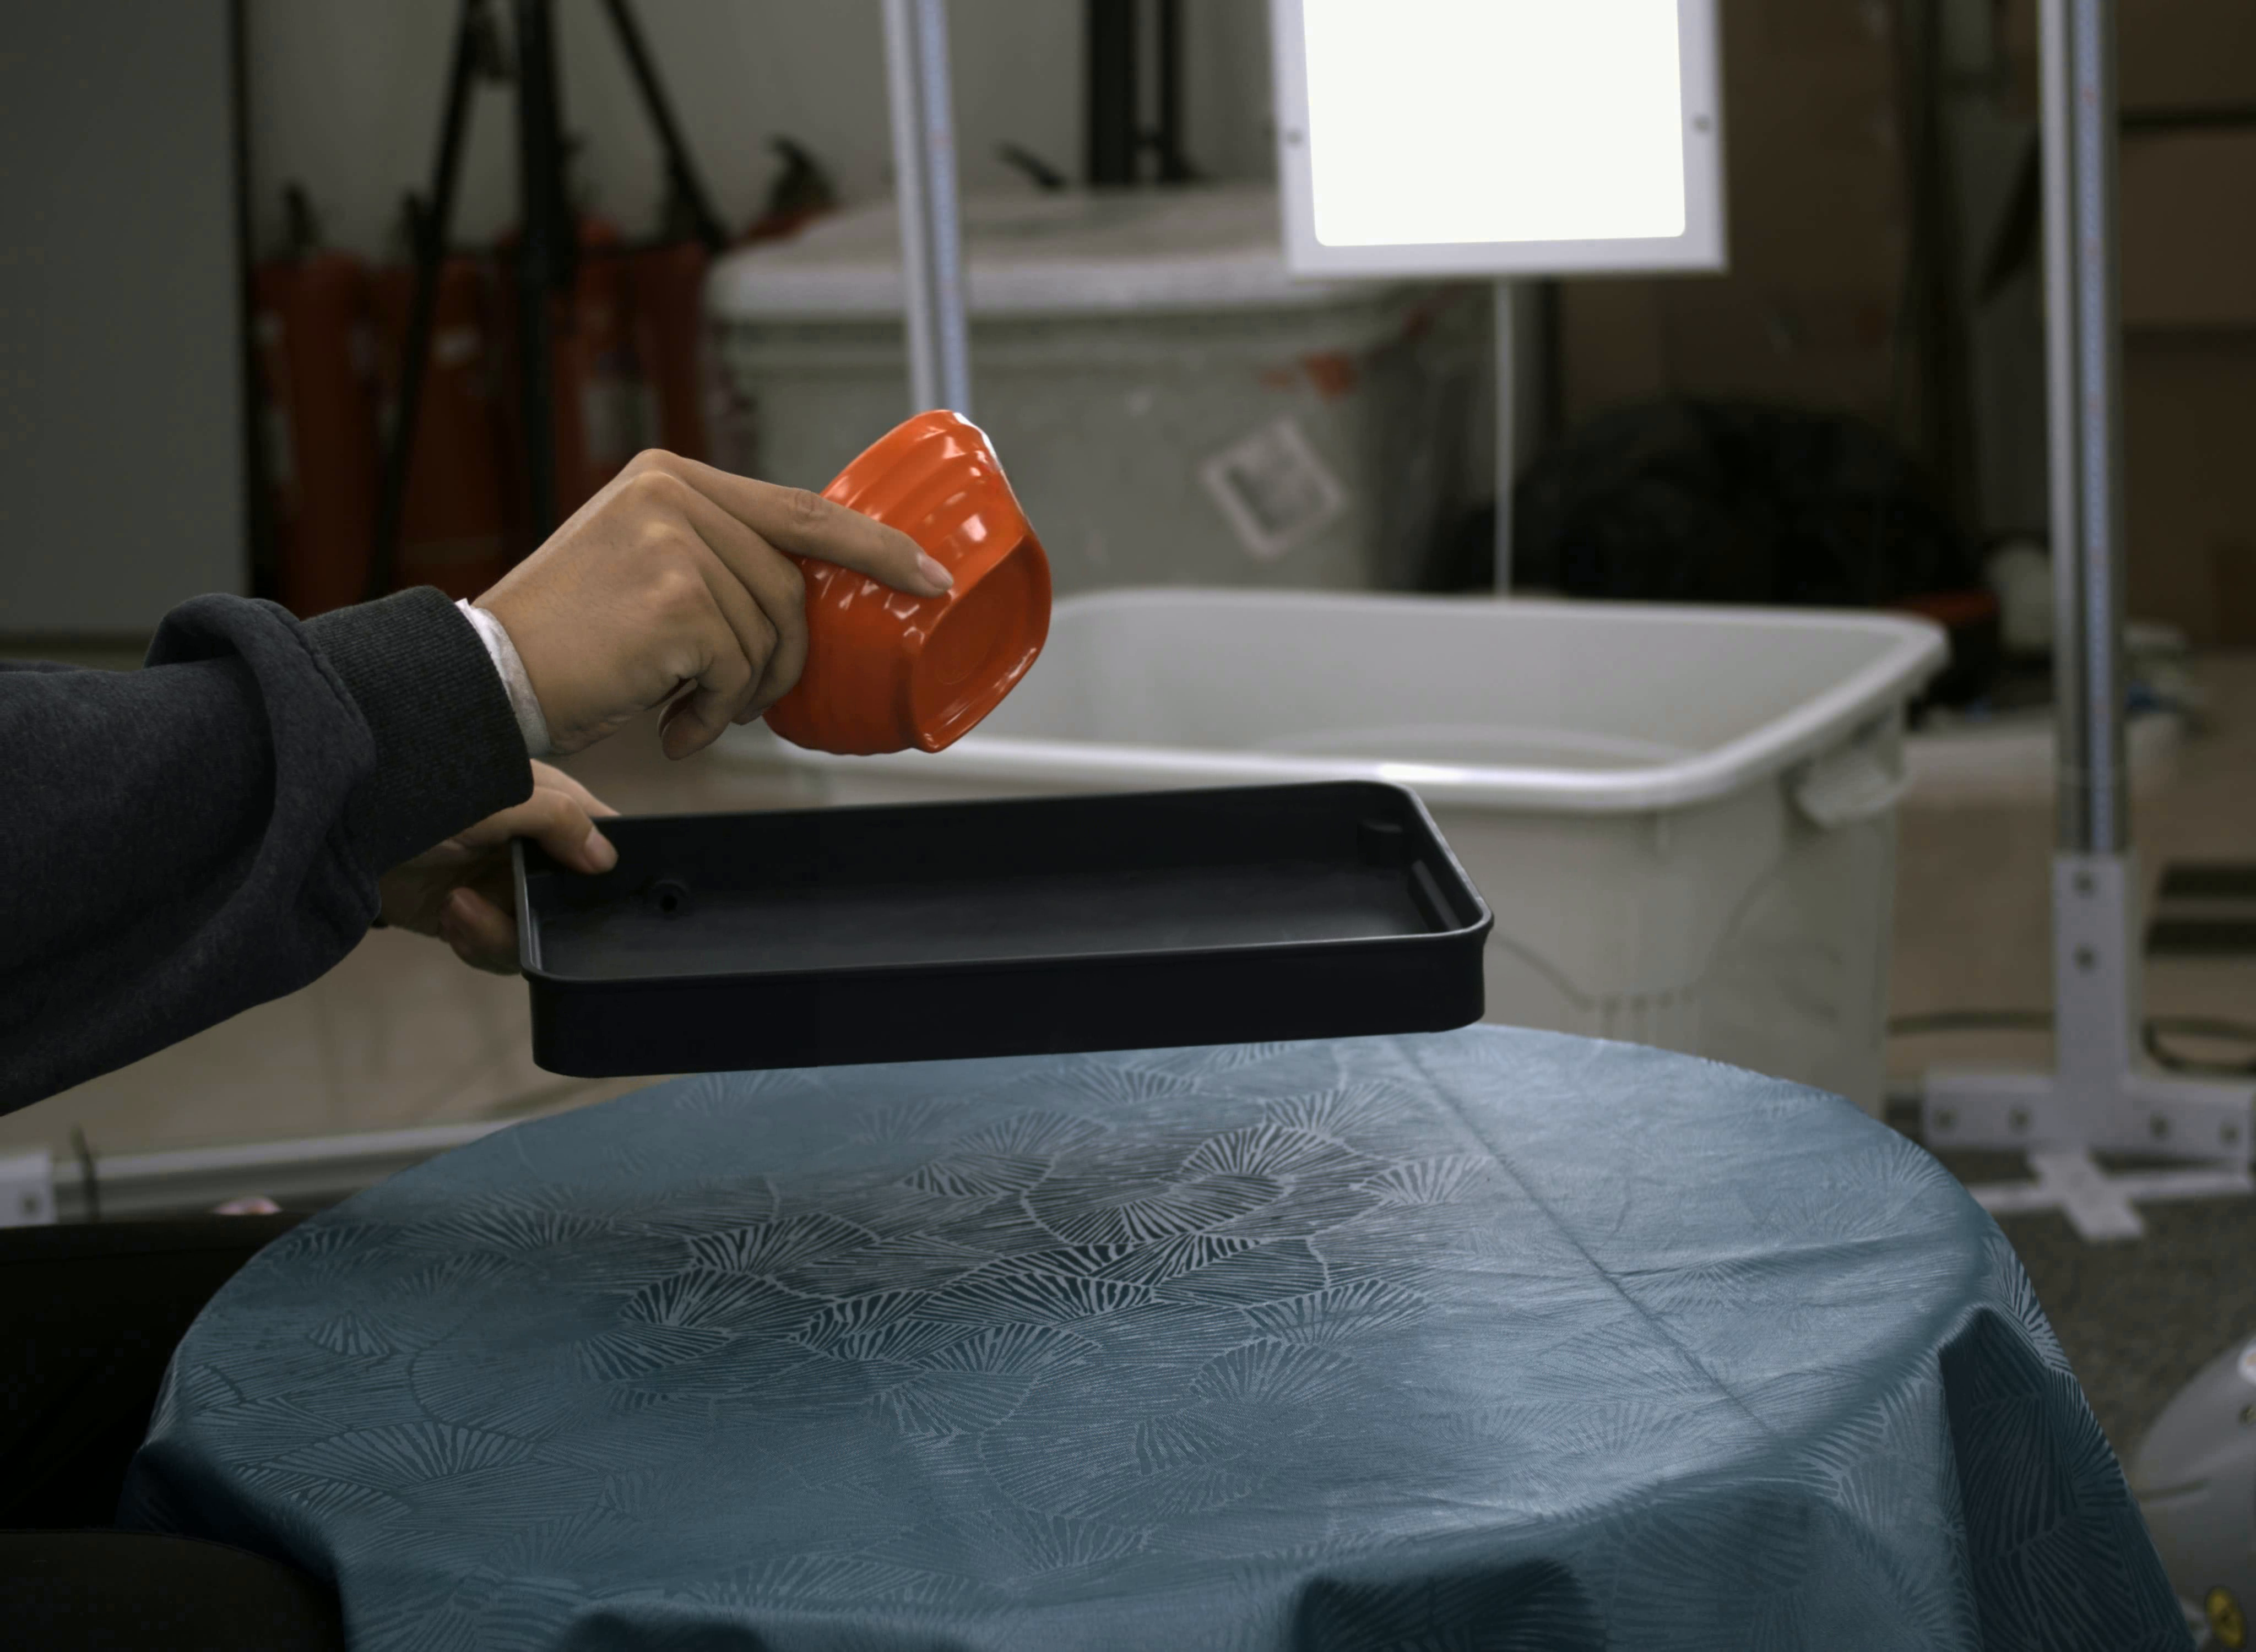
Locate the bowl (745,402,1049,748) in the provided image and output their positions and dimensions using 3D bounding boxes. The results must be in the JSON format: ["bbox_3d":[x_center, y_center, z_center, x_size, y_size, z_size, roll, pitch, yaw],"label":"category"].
[{"bbox_3d":[-0.065,-0.069,1.729,0.052,0.120,0.116,36,32,24],"label":"bowl"}]

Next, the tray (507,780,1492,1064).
[{"bbox_3d":[-0.047,0.030,1.846,0.315,0.037,0.184,-2,17,-5],"label":"tray"}]
